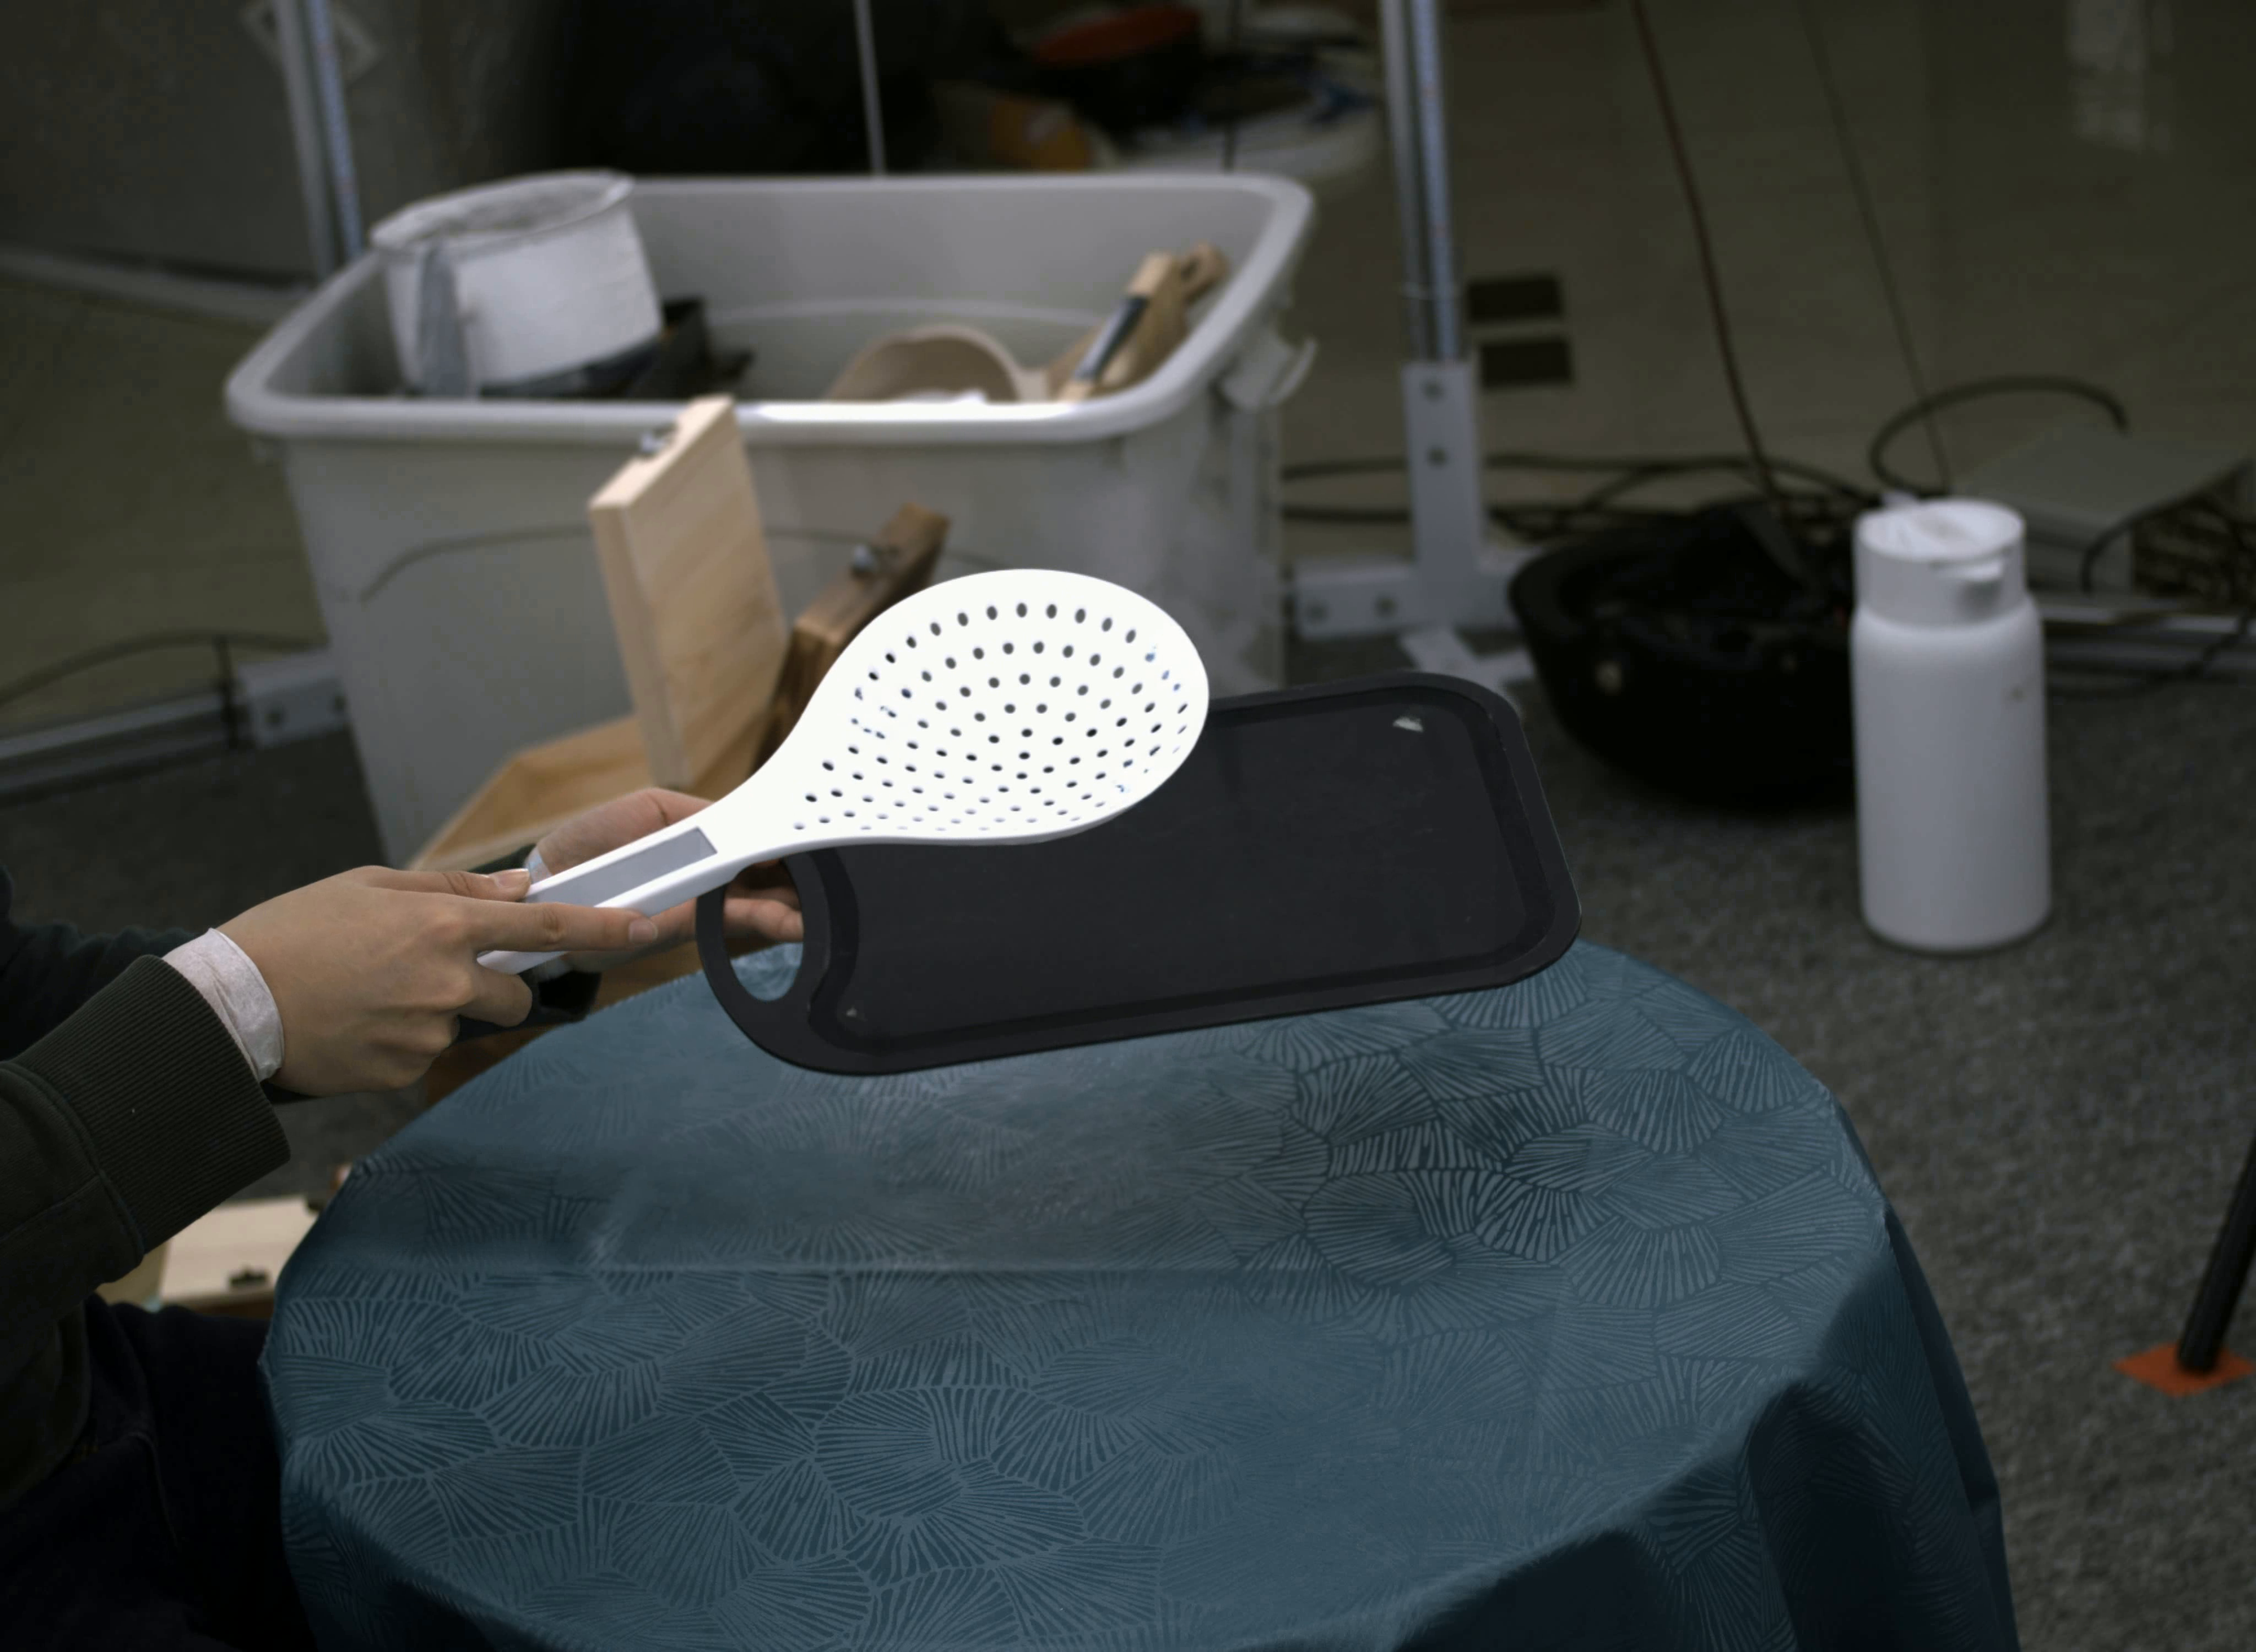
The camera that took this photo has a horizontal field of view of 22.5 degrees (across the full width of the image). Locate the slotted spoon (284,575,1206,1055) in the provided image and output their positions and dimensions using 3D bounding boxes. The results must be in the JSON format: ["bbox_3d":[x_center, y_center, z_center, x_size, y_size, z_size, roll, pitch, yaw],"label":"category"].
[{"bbox_3d":[-0.132,0.002,1.982,0.348,0.046,0.134,-21,47,-23],"label":"slotted spoon"}]

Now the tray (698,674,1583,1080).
[{"bbox_3d":[0.000,0.017,2.124,0.325,0.010,0.207,-8,36,-2],"label":"tray"}]
